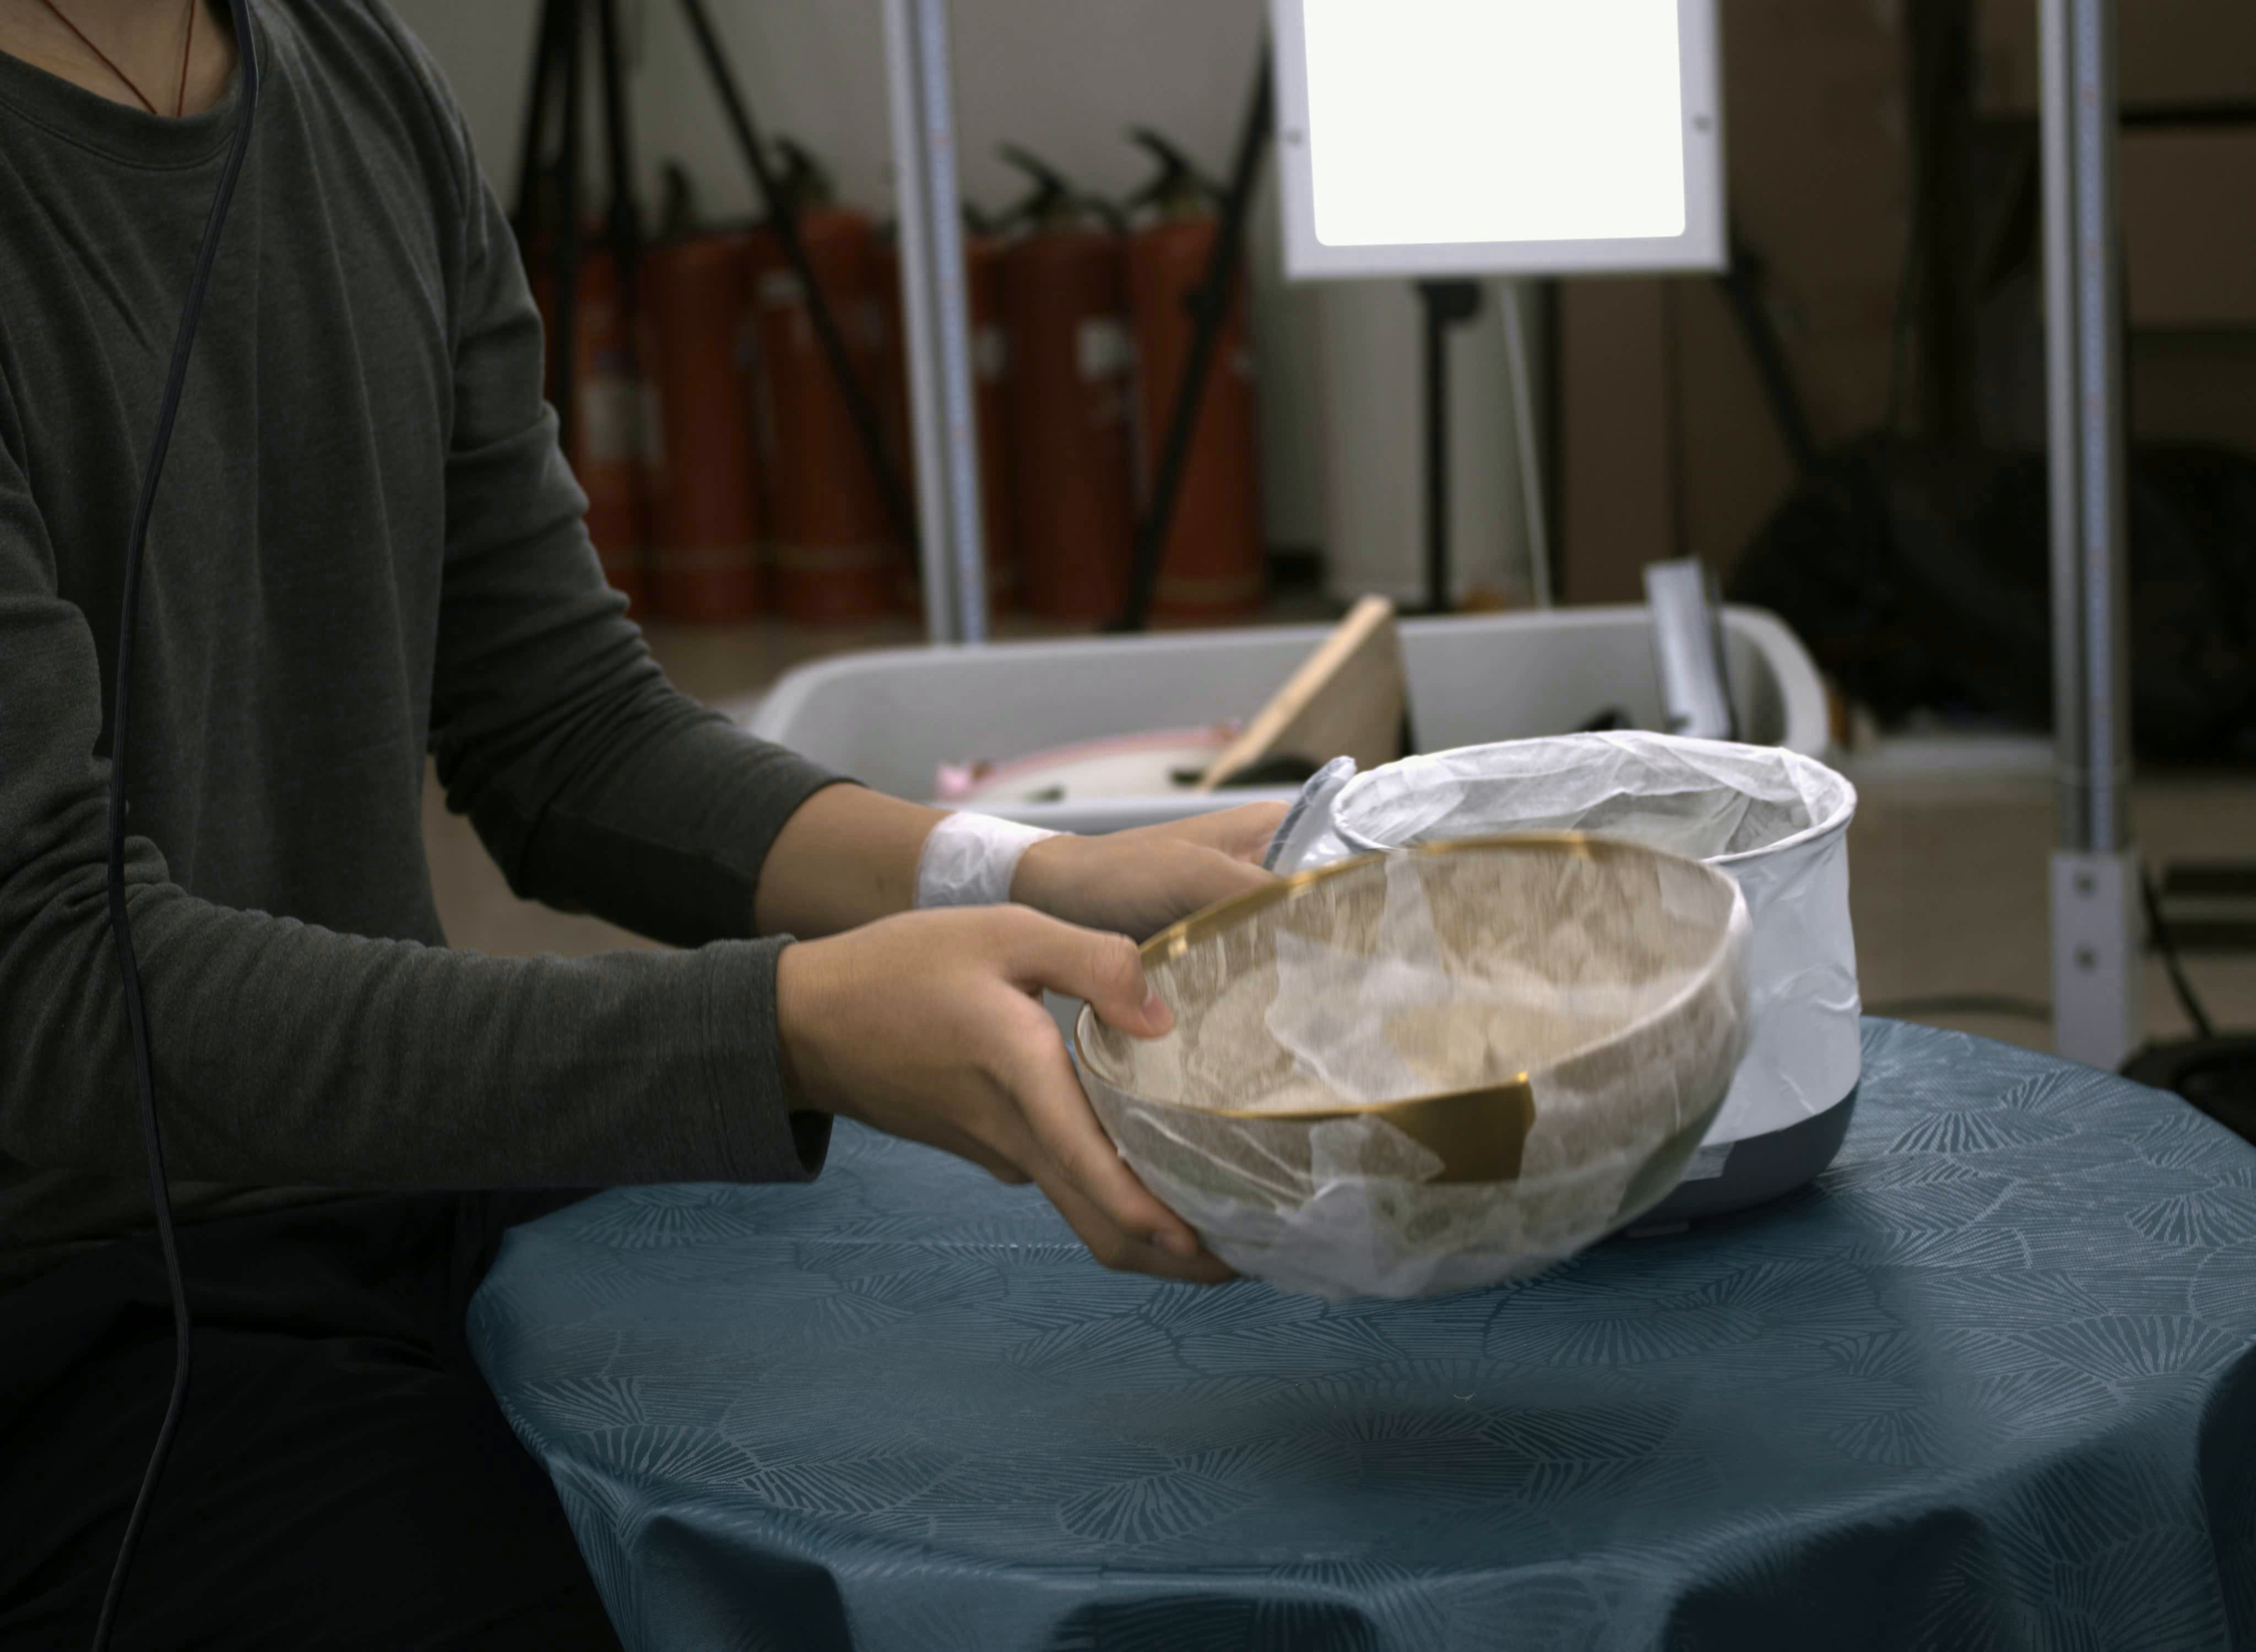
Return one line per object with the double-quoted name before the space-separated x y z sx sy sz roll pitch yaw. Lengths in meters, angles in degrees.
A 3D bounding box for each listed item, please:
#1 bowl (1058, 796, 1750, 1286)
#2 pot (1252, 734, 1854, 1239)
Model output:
"bowl" 0.088 0.075 1.623 0.215 0.094 0.214 -15 21 4
"pot" 0.134 0.050 1.868 0.238 0.137 0.174 7 18 34
